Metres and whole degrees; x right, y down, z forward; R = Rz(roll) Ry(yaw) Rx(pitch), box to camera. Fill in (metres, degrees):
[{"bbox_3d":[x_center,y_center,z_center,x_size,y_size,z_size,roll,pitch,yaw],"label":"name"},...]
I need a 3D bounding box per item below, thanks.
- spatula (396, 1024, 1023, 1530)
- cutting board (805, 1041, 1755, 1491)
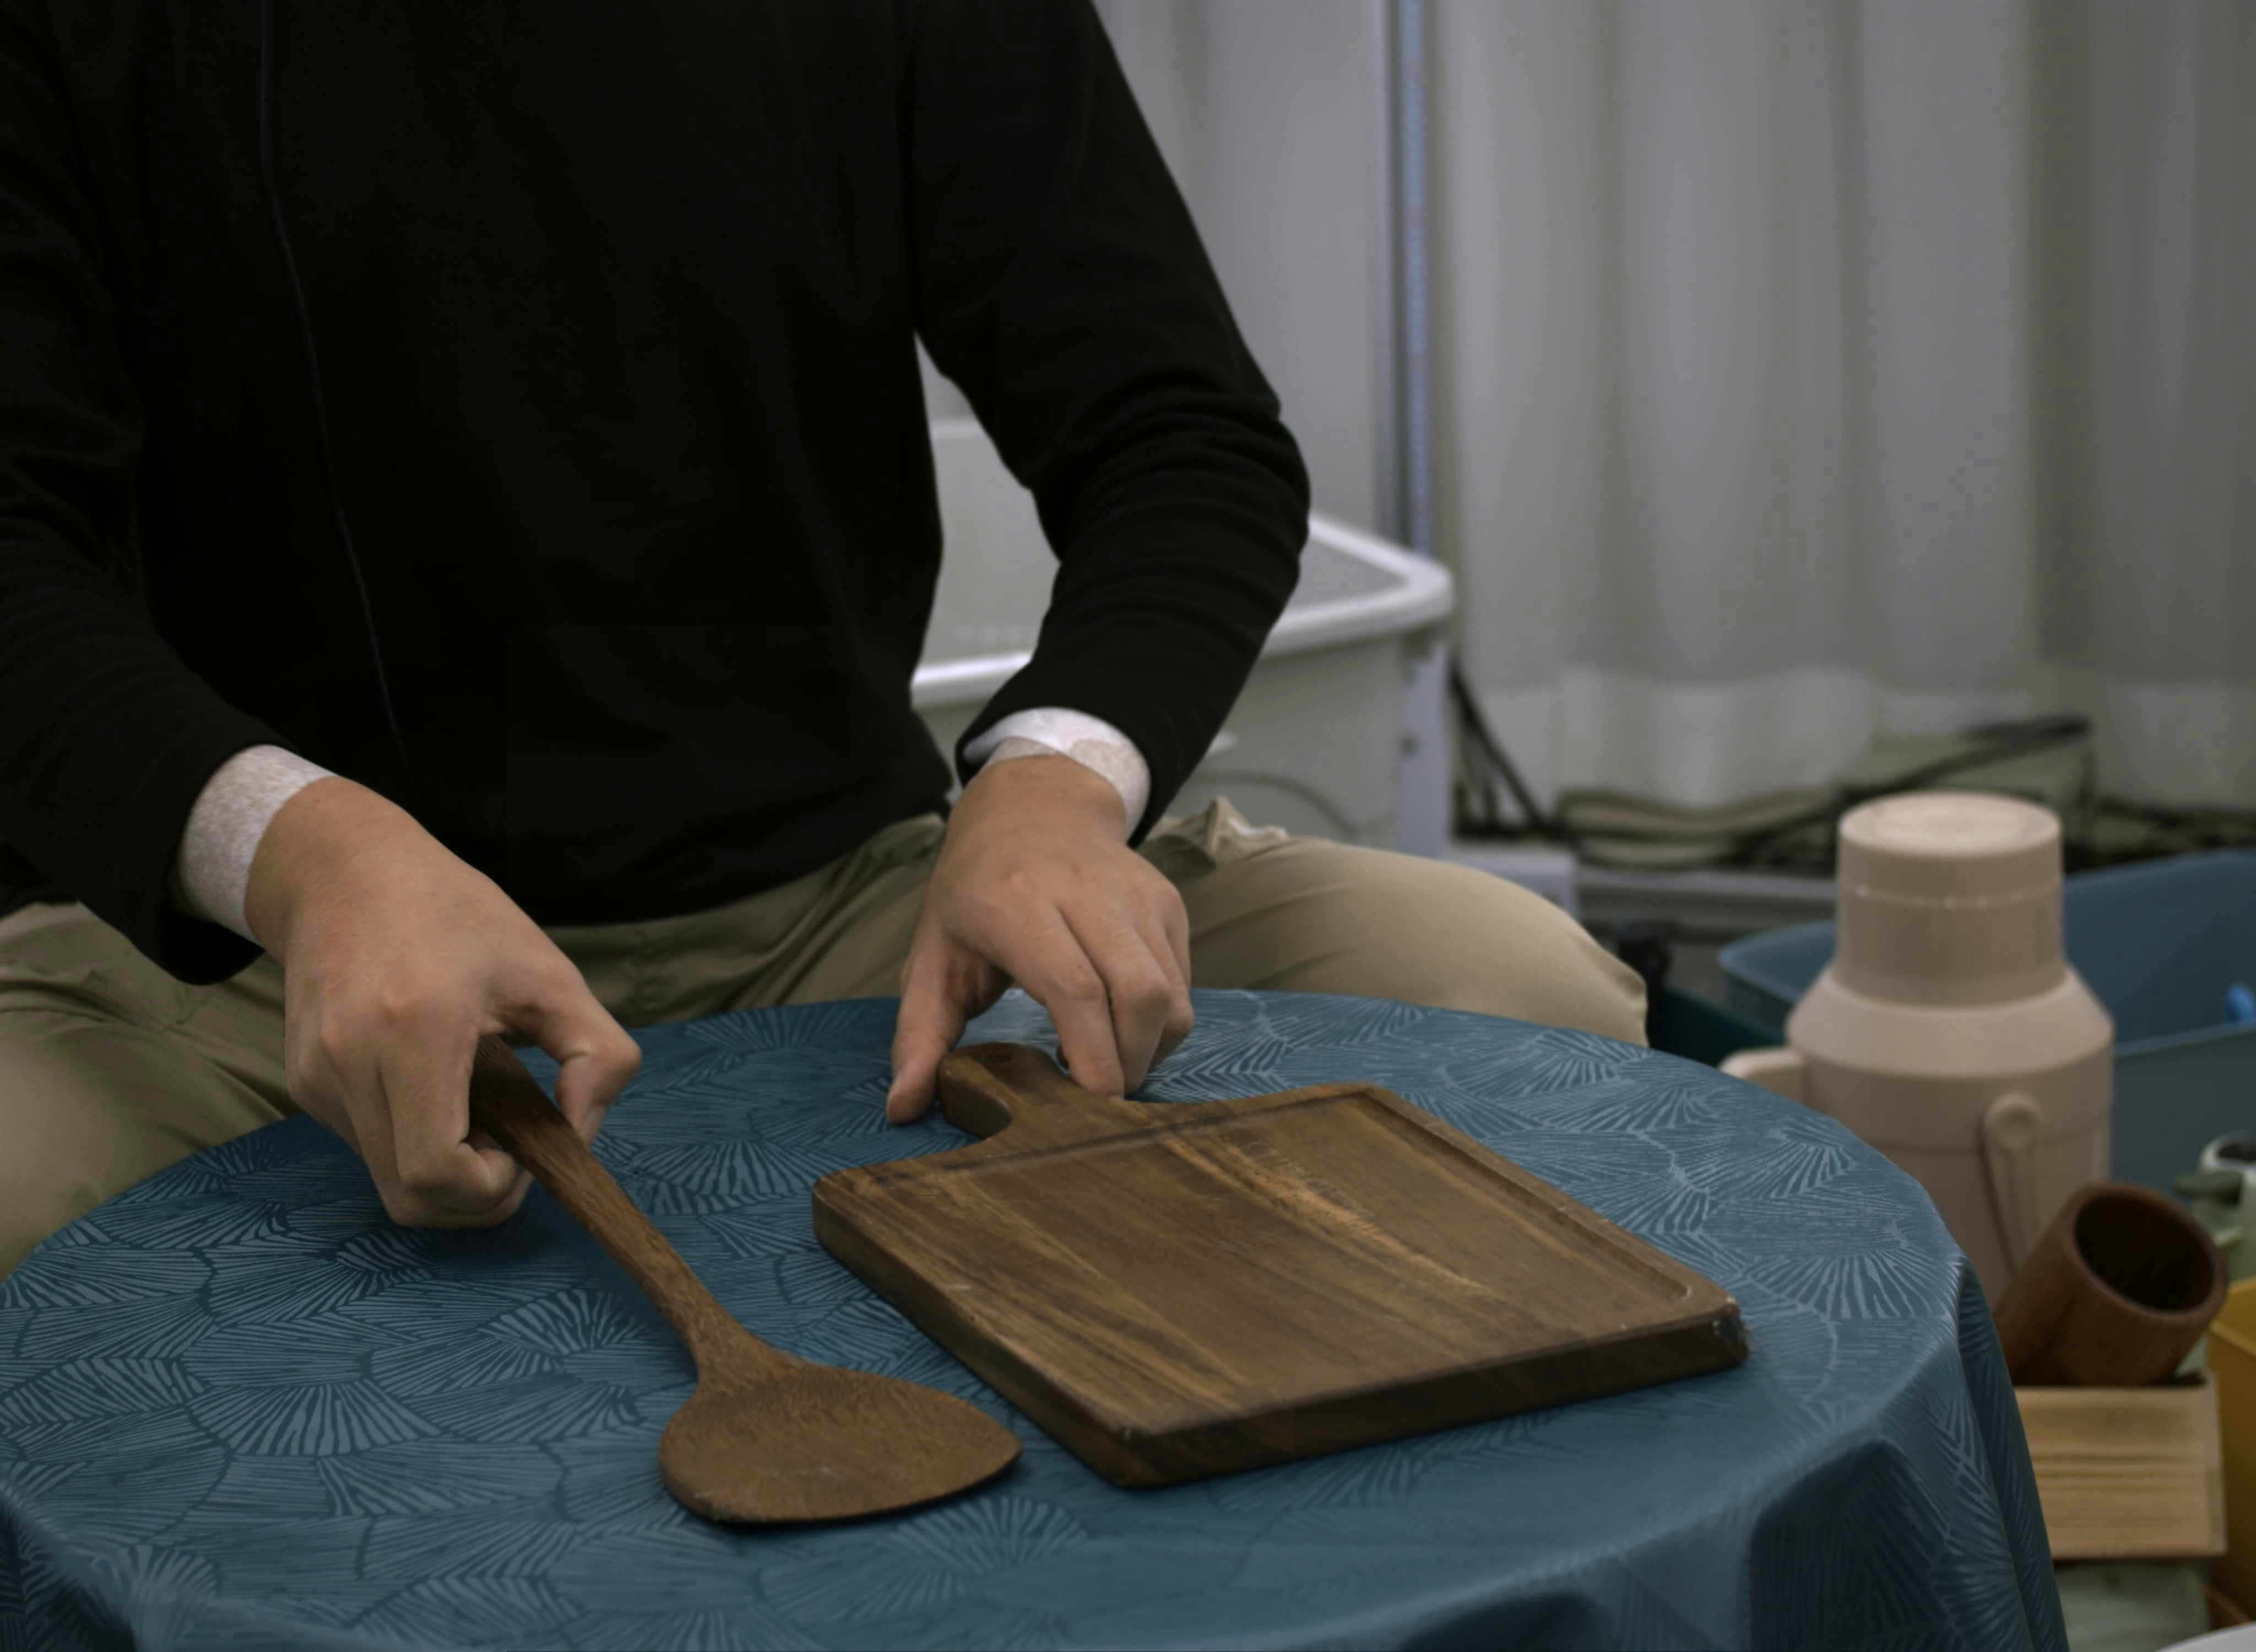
[{"bbox_3d":[-0.147,0.125,1.622,0.095,0.015,0.390,-9,22,-24],"label":"spatula"},{"bbox_3d":[0.019,0.119,1.654,0.200,0.023,0.355,-9,16,-22],"label":"cutting board"}]
